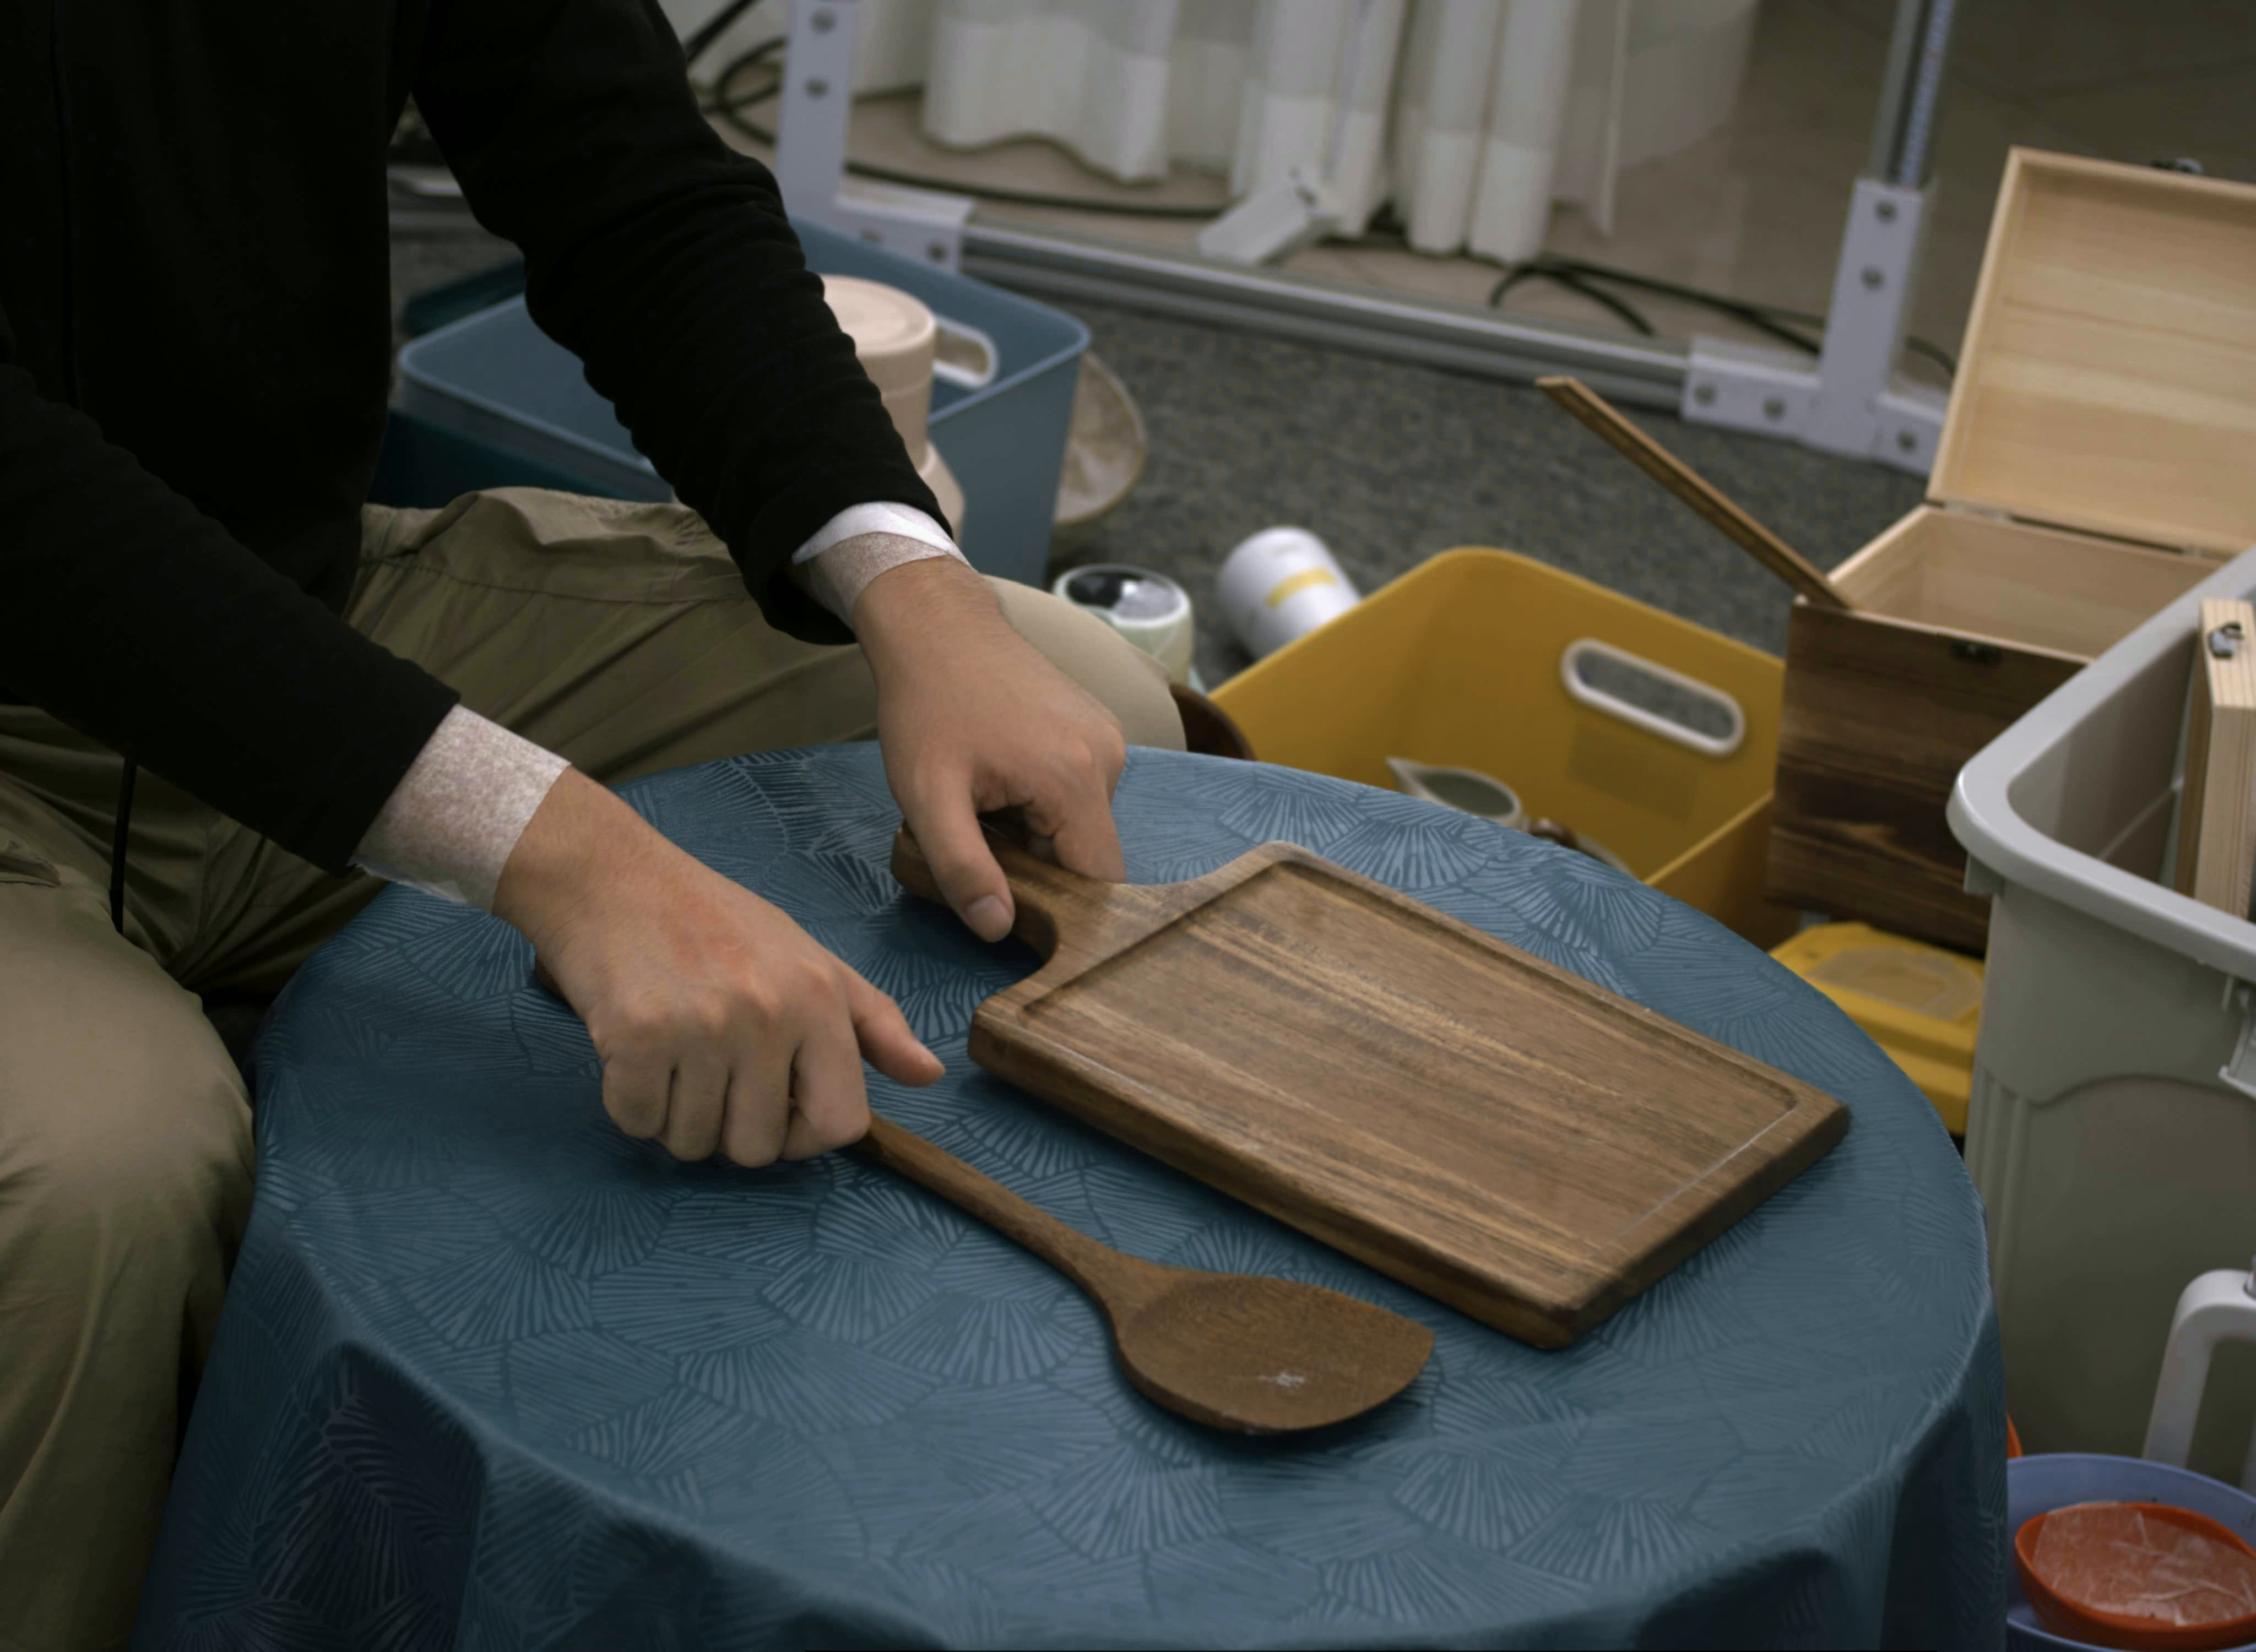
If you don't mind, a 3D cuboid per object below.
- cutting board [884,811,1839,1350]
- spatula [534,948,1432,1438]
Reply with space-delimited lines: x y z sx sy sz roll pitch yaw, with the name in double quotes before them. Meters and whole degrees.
"cutting board" 0.058 0.070 1.884 0.354 0.023 0.200 25 32 28
"spatula" -0.065 0.115 1.787 0.389 0.016 0.095 27 32 34
